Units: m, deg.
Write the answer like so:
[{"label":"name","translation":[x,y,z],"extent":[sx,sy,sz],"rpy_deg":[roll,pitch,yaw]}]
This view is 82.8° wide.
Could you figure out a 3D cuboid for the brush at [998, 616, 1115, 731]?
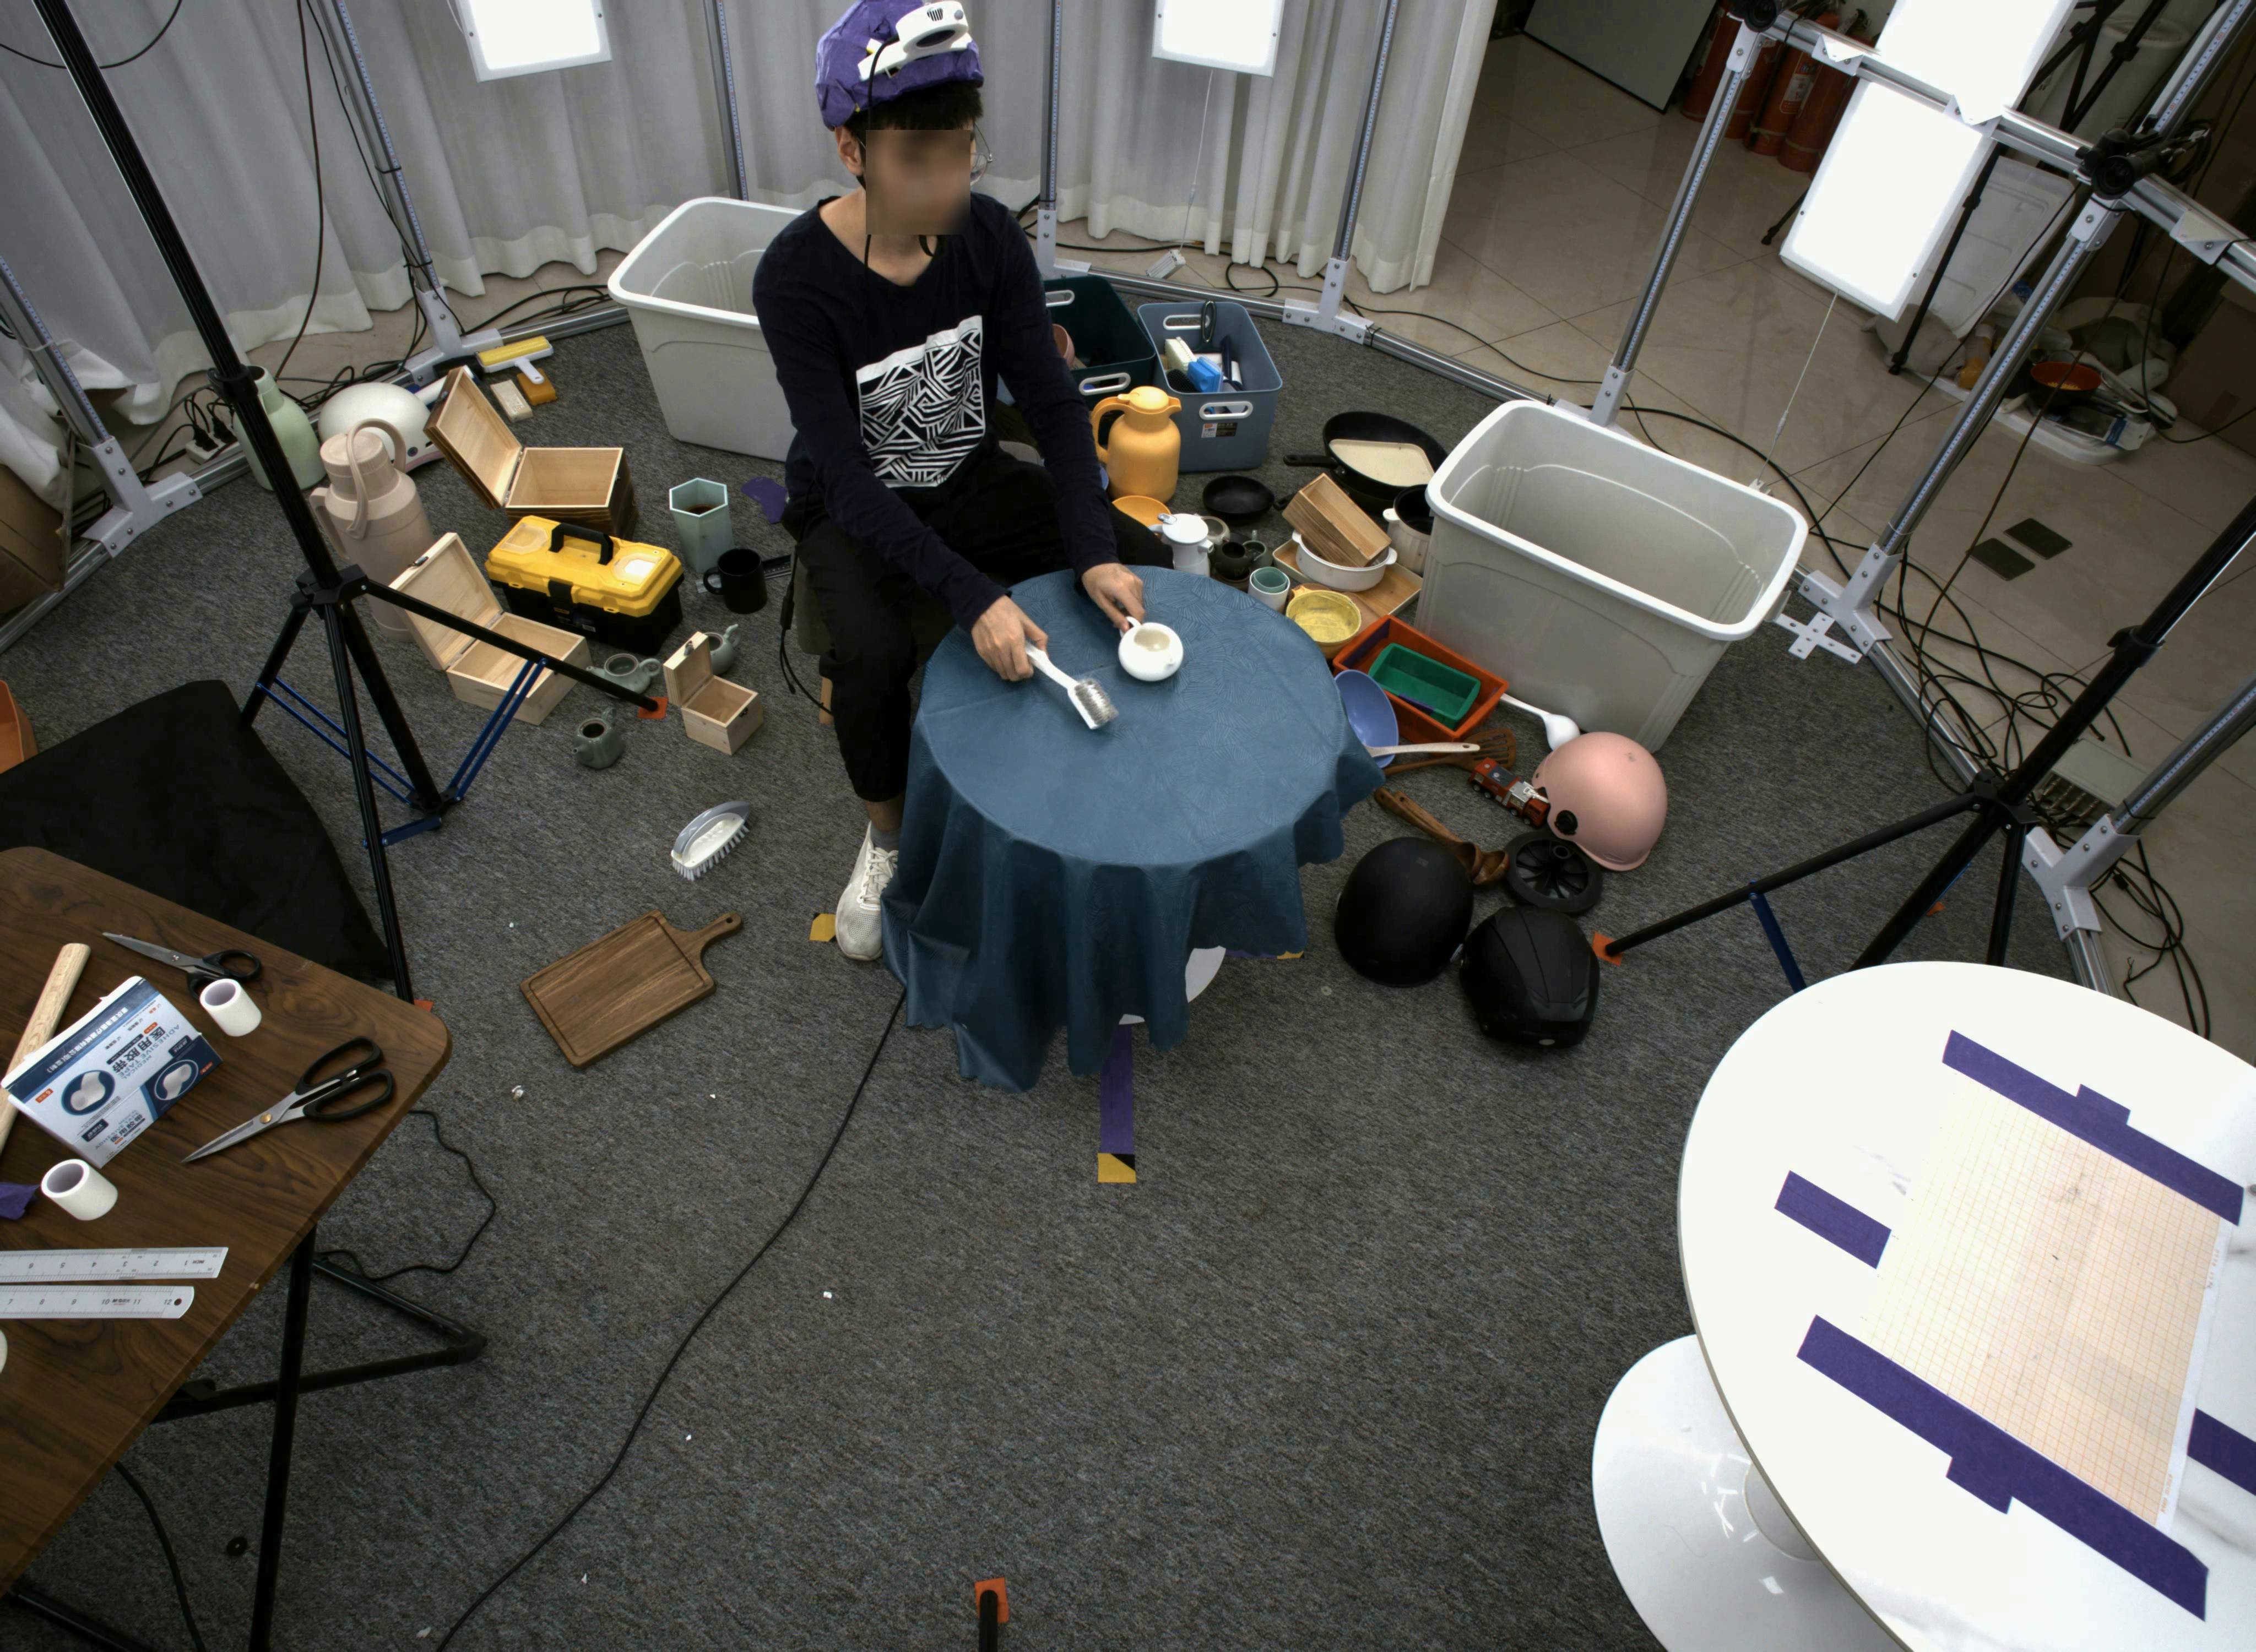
[{"label":"brush","translation":[-0.104,-0.227,1.805],"extent":[0.034,0.049,0.247],"rpy_deg":[-29,65,-27]}]

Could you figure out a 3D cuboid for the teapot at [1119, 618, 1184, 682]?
[{"label":"teapot","translation":[0.027,-0.256,1.859],"extent":[0.094,0.055,0.129],"rpy_deg":[-31,56,-22]}]
